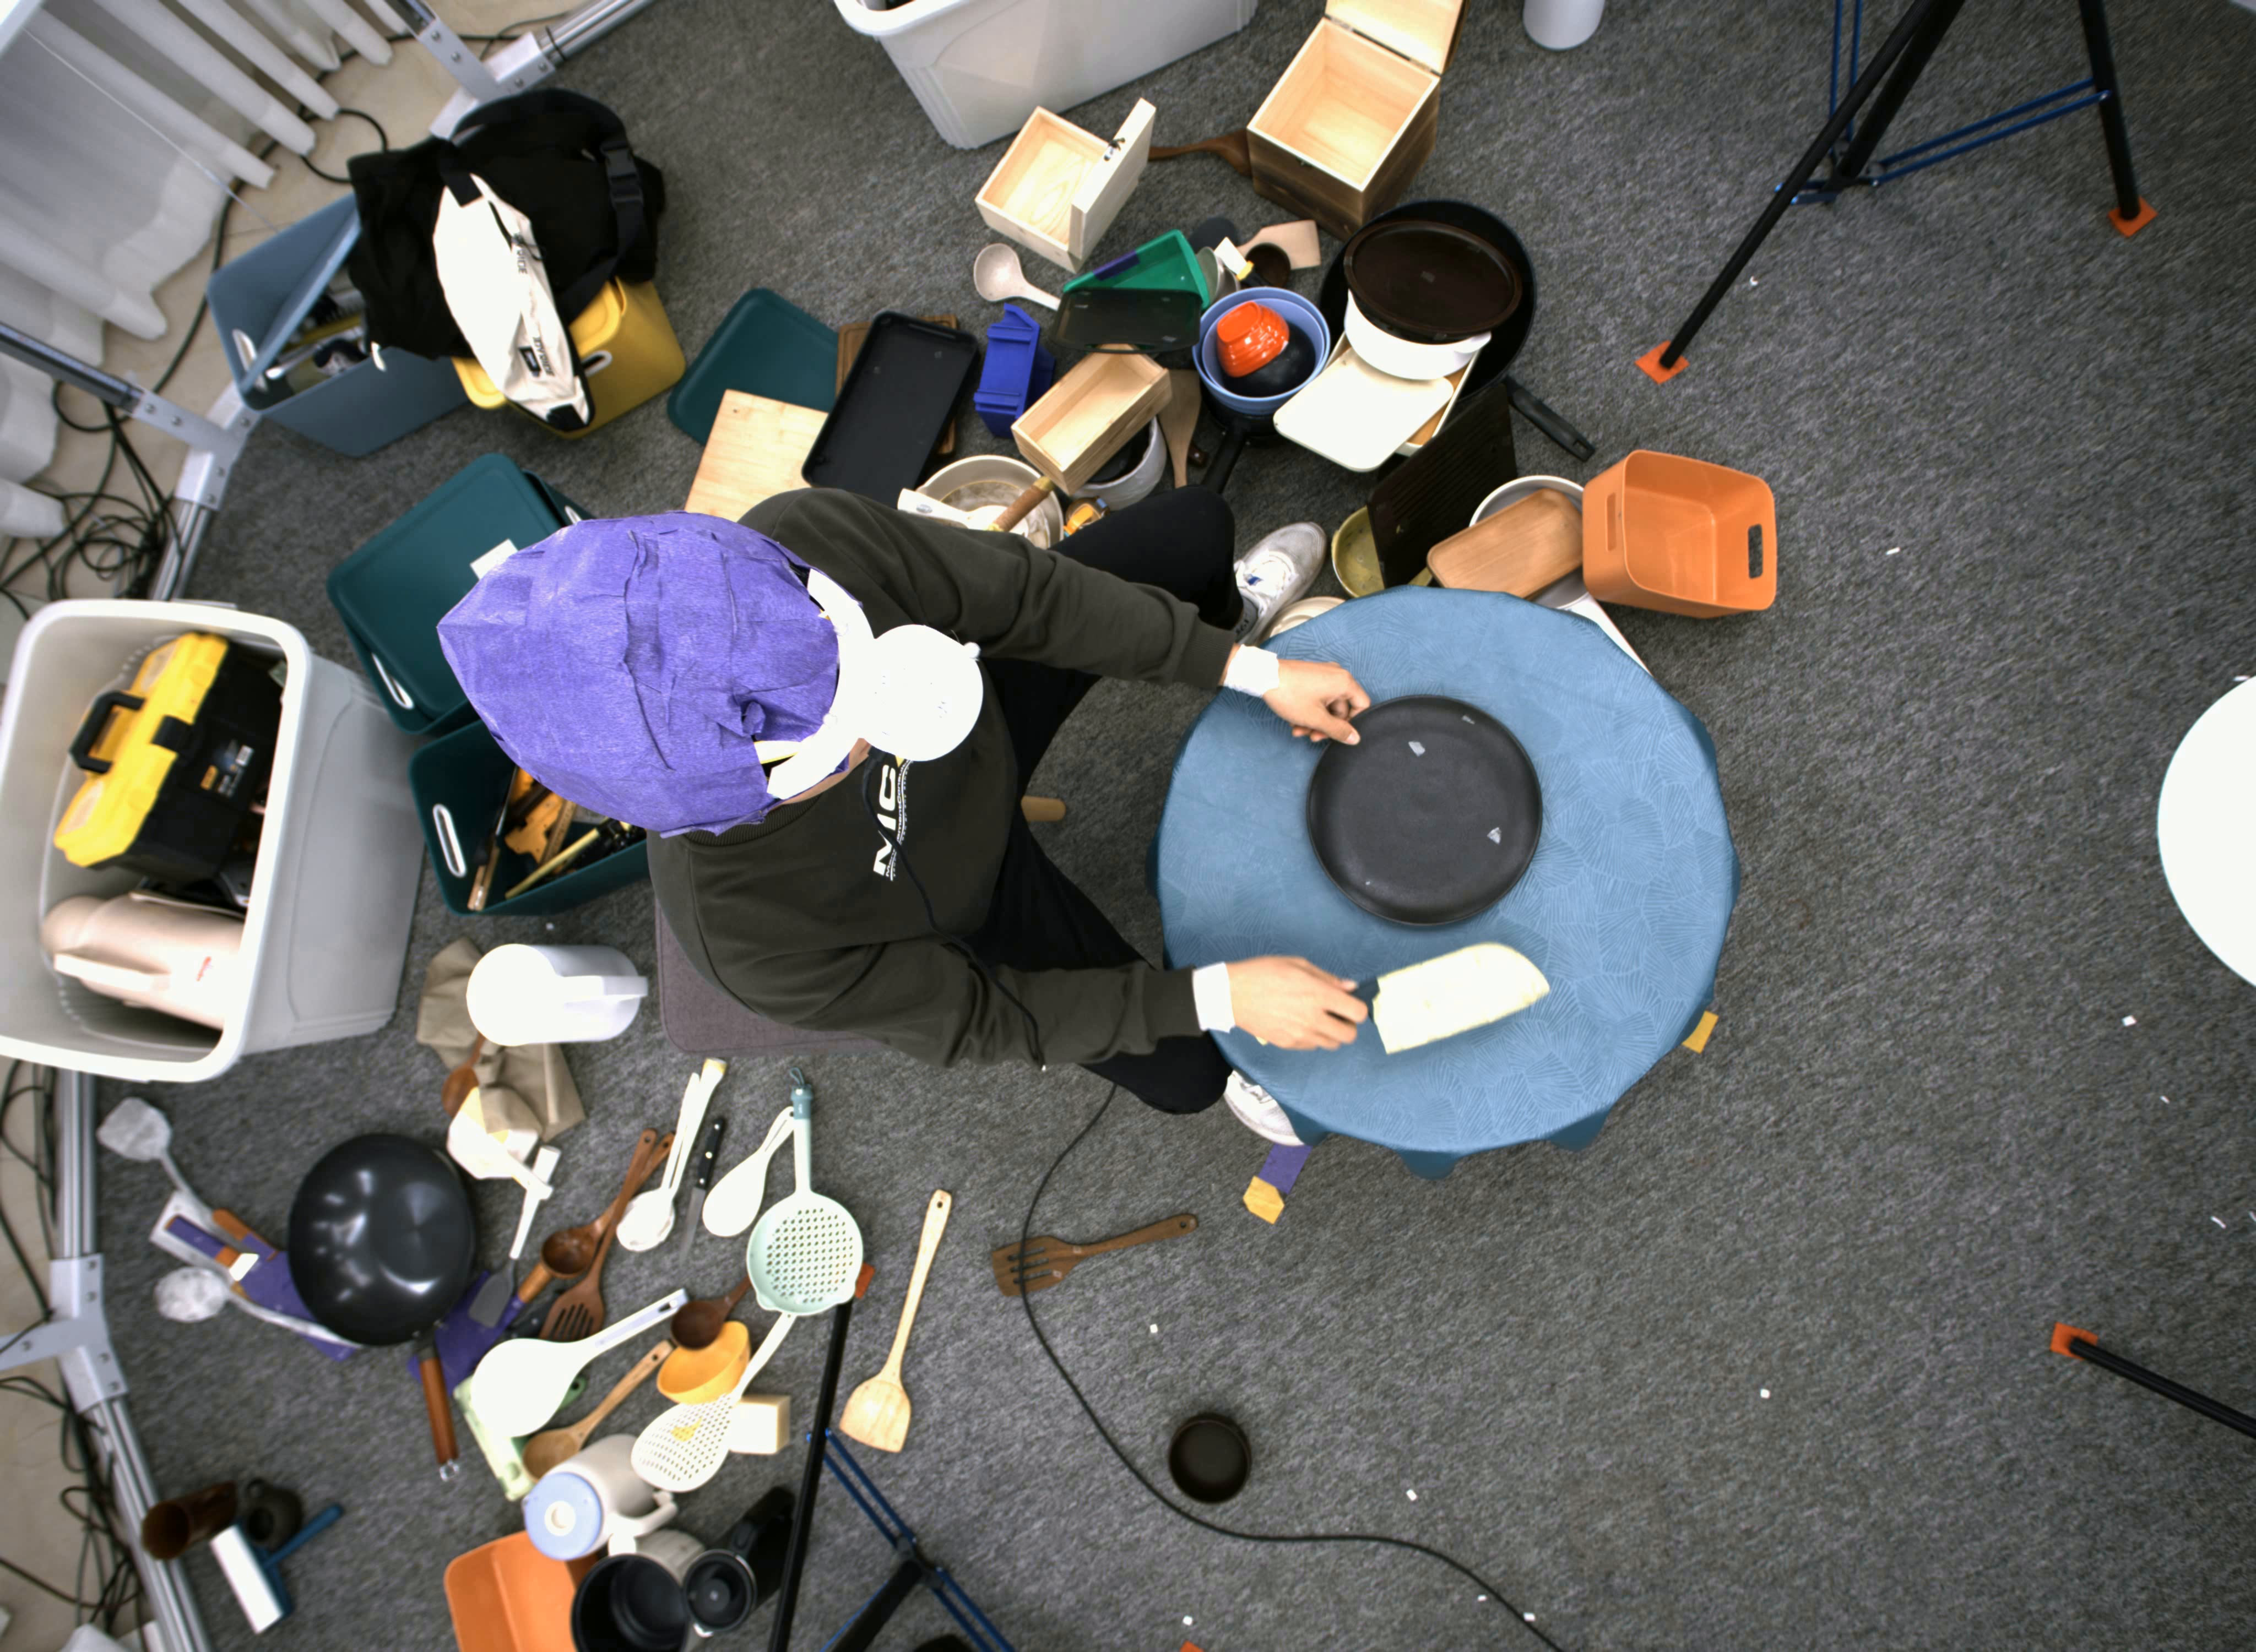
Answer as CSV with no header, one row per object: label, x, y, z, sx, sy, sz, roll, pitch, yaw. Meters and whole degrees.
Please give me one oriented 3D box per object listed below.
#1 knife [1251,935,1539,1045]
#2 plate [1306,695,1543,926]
knife,0.265,0.172,1.366,0.291,0.027,0.081,-17,90,7
plate,0.309,-0.017,1.441,0.245,0.023,0.244,0,90,9
